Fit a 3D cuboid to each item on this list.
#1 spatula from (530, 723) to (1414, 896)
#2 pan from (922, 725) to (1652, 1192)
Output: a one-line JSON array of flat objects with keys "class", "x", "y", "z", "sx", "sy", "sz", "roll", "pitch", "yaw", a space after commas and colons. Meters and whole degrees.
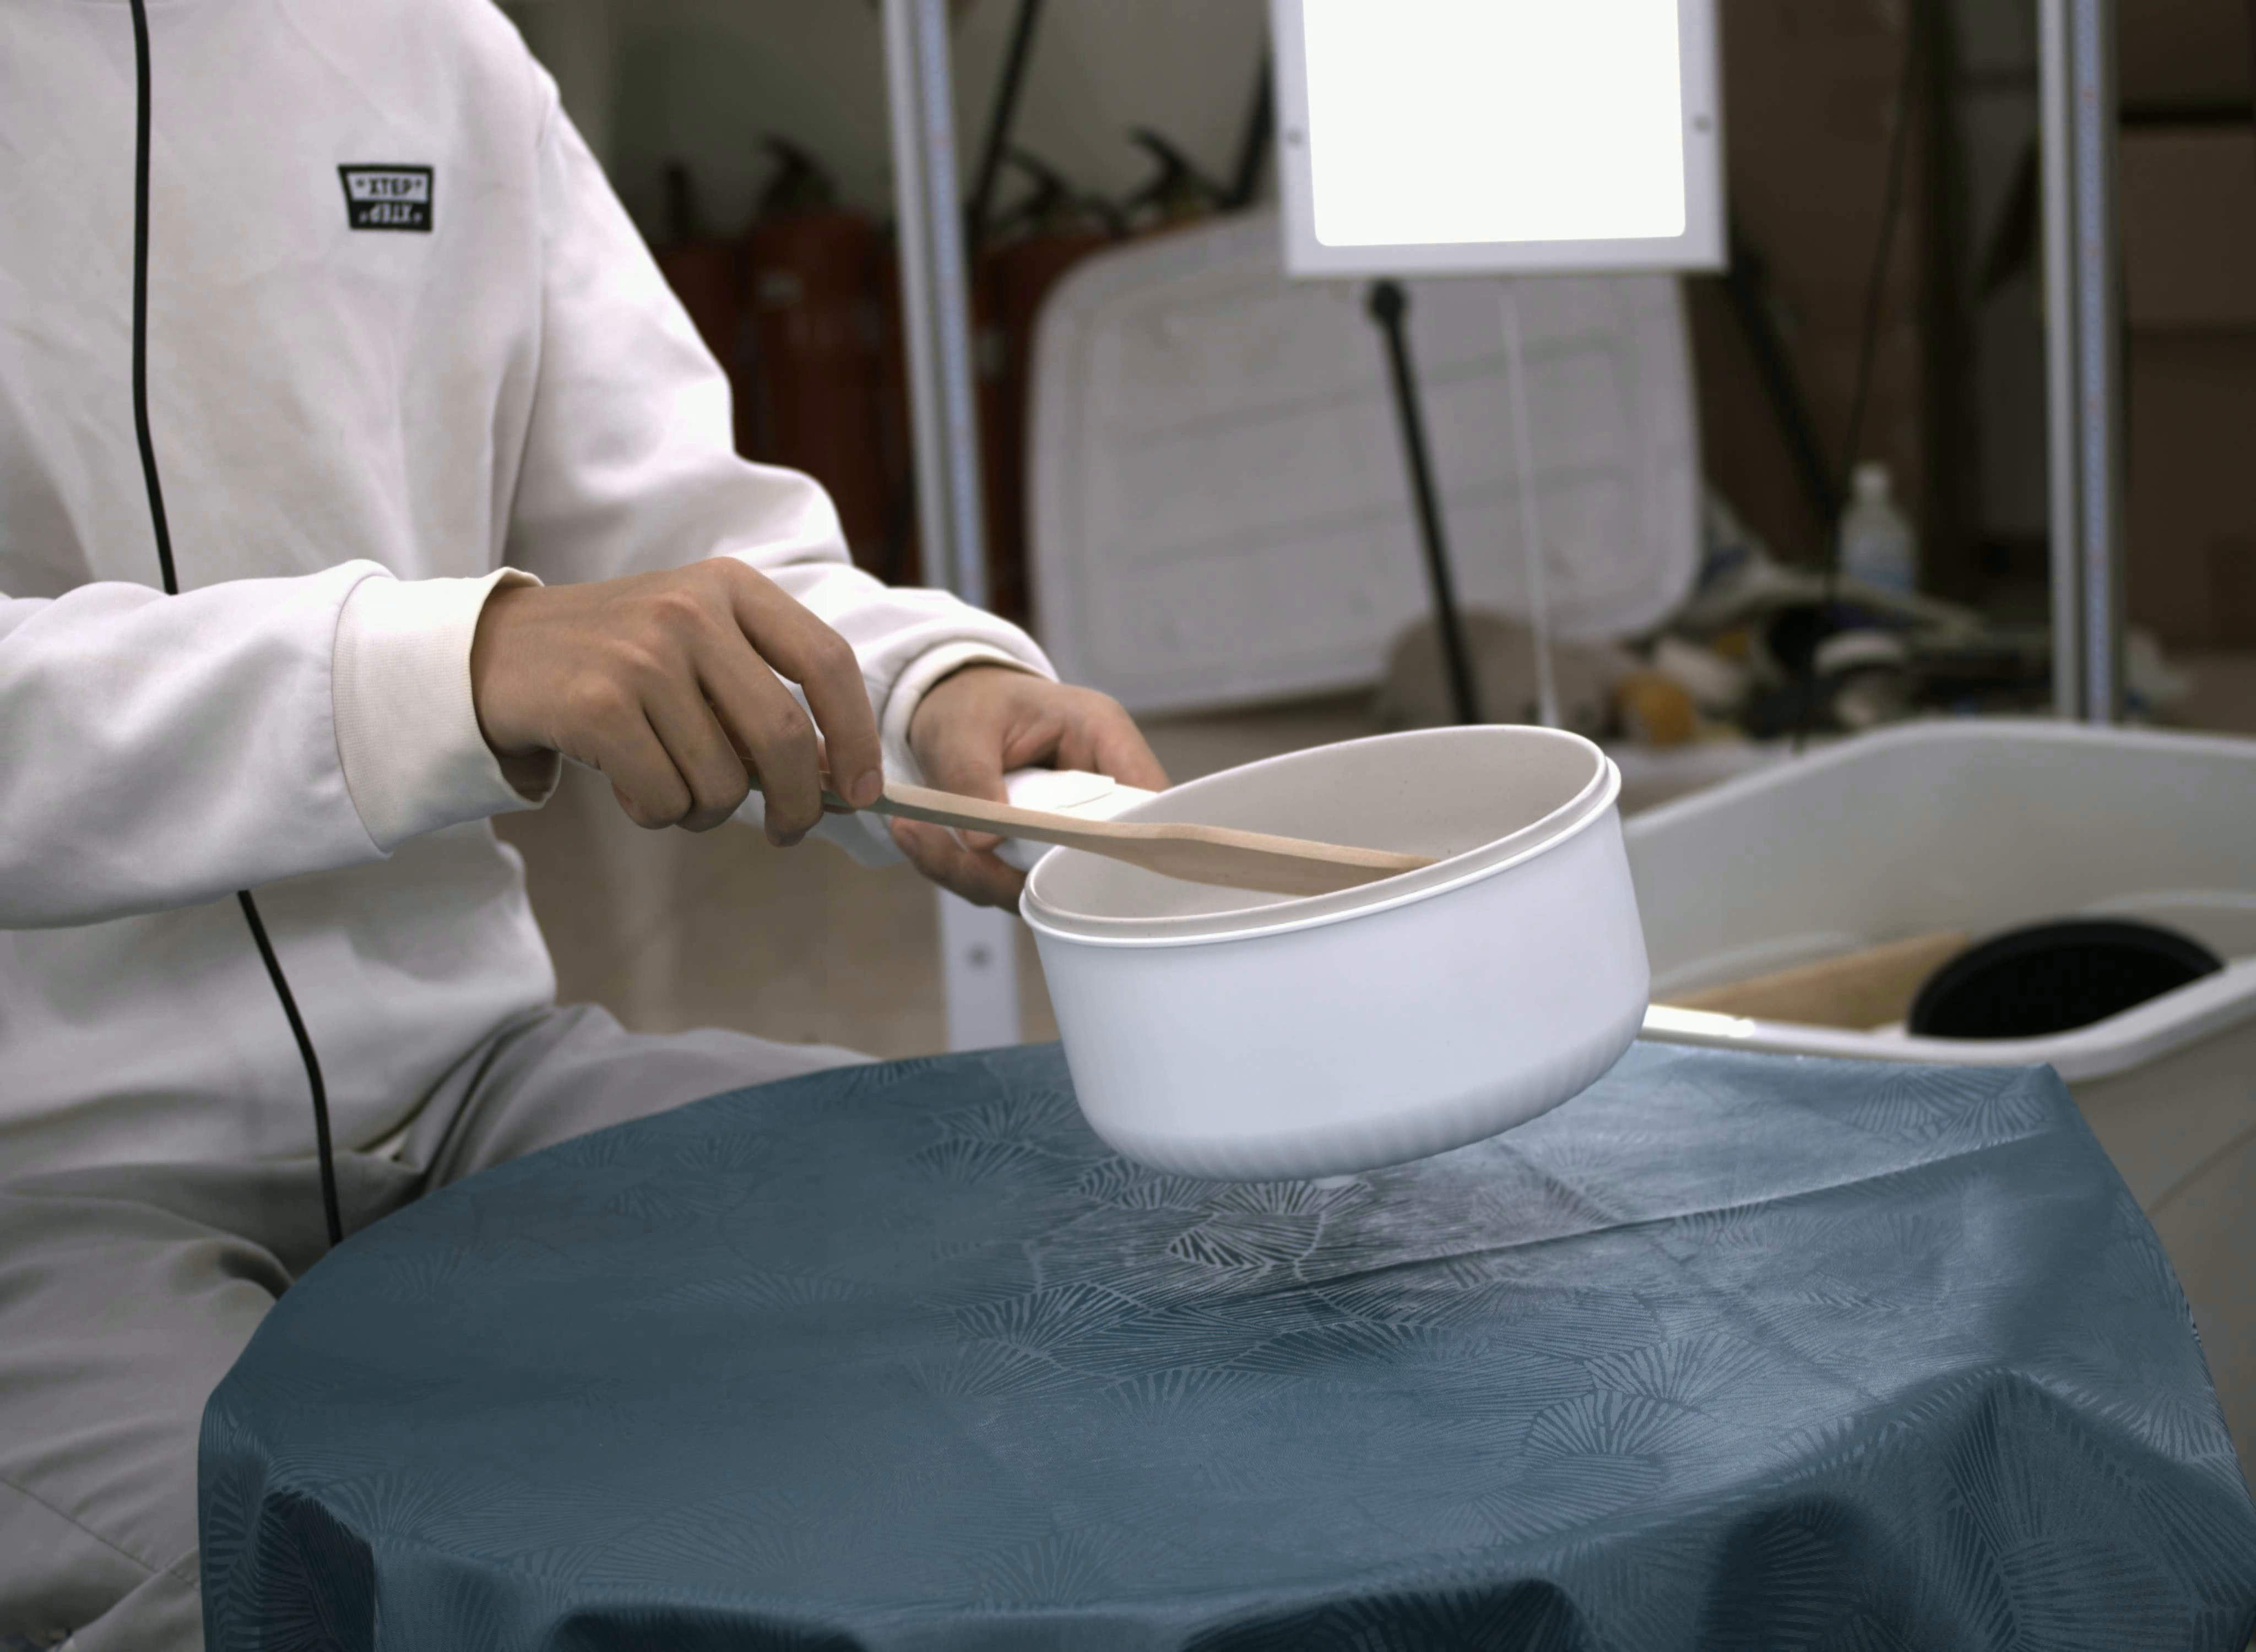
[{"class": "spatula", "x": -0.049, "y": -0.004, "z": 1.780, "sx": 0.292, "sy": 0.010, "sz": 0.072, "roll": 10, "pitch": -11, "yaw": -1}, {"class": "pan", "x": 0.034, "y": 0.039, "z": 1.873, "sx": 0.197, "sy": 0.102, "sz": 0.361, "roll": -22, "pitch": 15, "yaw": -26}]
